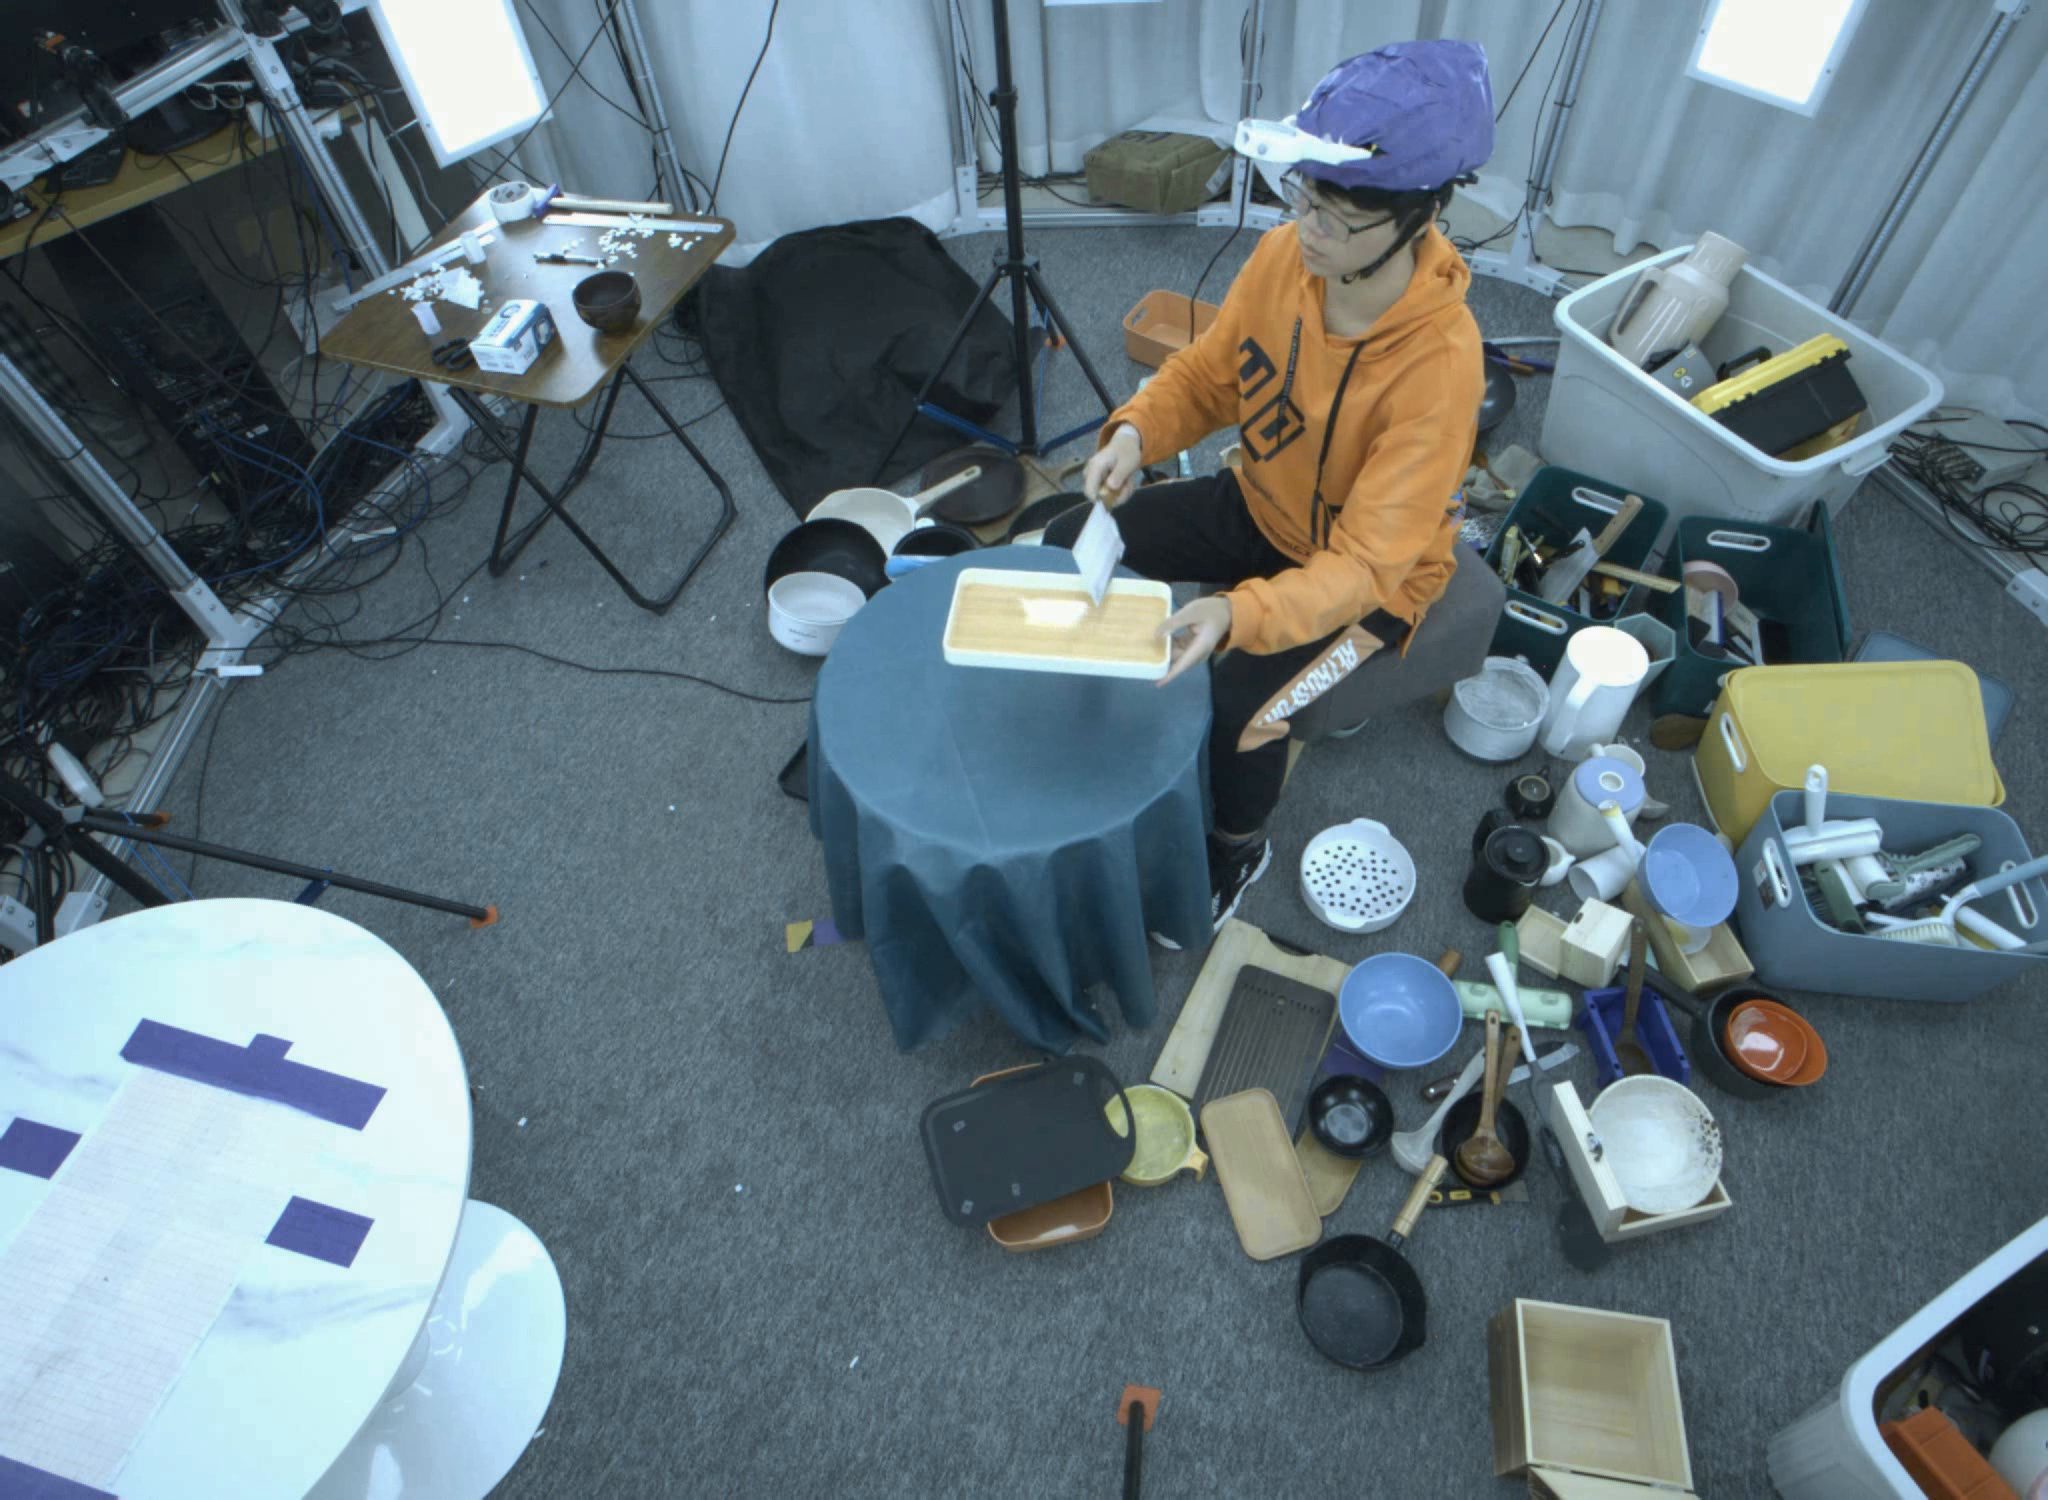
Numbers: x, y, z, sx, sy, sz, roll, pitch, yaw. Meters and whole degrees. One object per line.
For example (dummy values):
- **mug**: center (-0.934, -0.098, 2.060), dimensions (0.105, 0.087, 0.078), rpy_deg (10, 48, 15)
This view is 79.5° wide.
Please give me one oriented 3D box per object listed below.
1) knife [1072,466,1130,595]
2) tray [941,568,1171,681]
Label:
- **knife**: center (0.117, -0.313, 1.742), dimensions (0.021, 0.094, 0.305), rpy_deg (-13, 30, 26)
- **tray**: center (0.047, -0.173, 1.668), dimensions (0.300, 0.027, 0.190), rpy_deg (5, 45, 2)
